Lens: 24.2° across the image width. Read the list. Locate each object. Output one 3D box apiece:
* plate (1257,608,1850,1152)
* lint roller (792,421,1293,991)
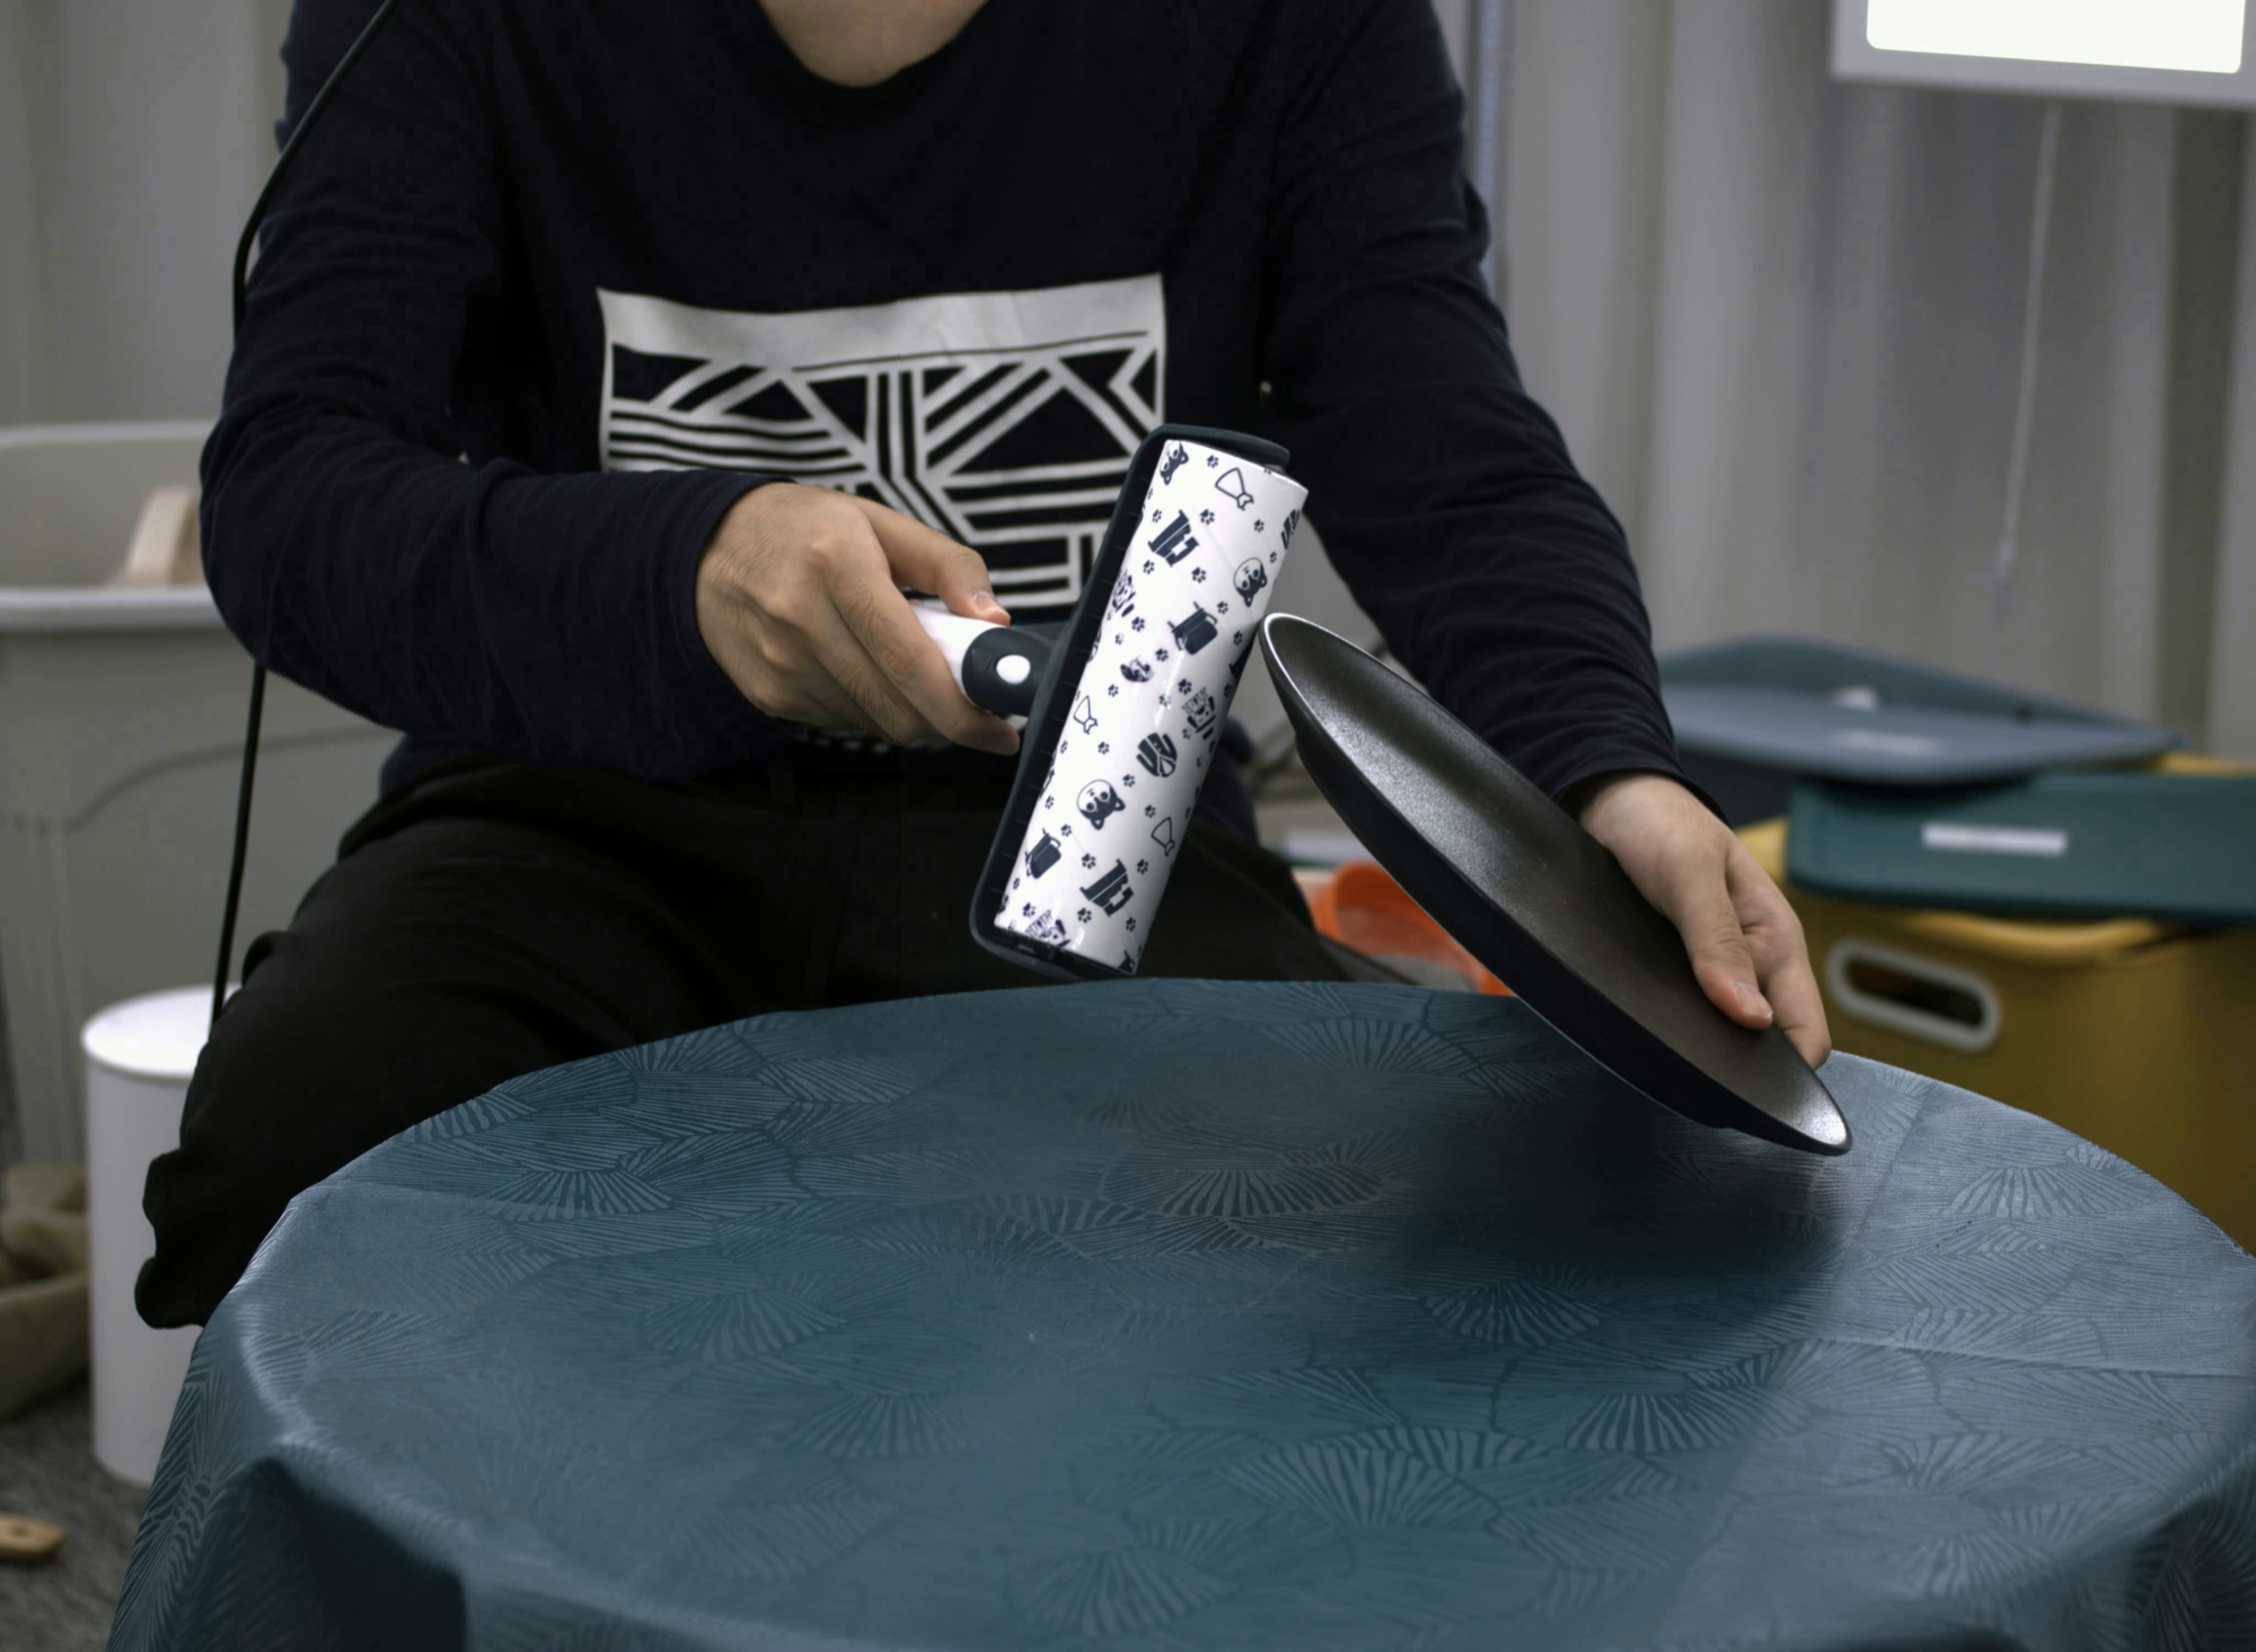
[{"bbox_3d":[0.125,0.022,1.623,0.245,0.023,0.243,40,11,-9],"label":"plate"},{"bbox_3d":[-0.049,-0.051,1.696,0.051,0.176,0.244,19,-2,-35],"label":"lint roller"}]
